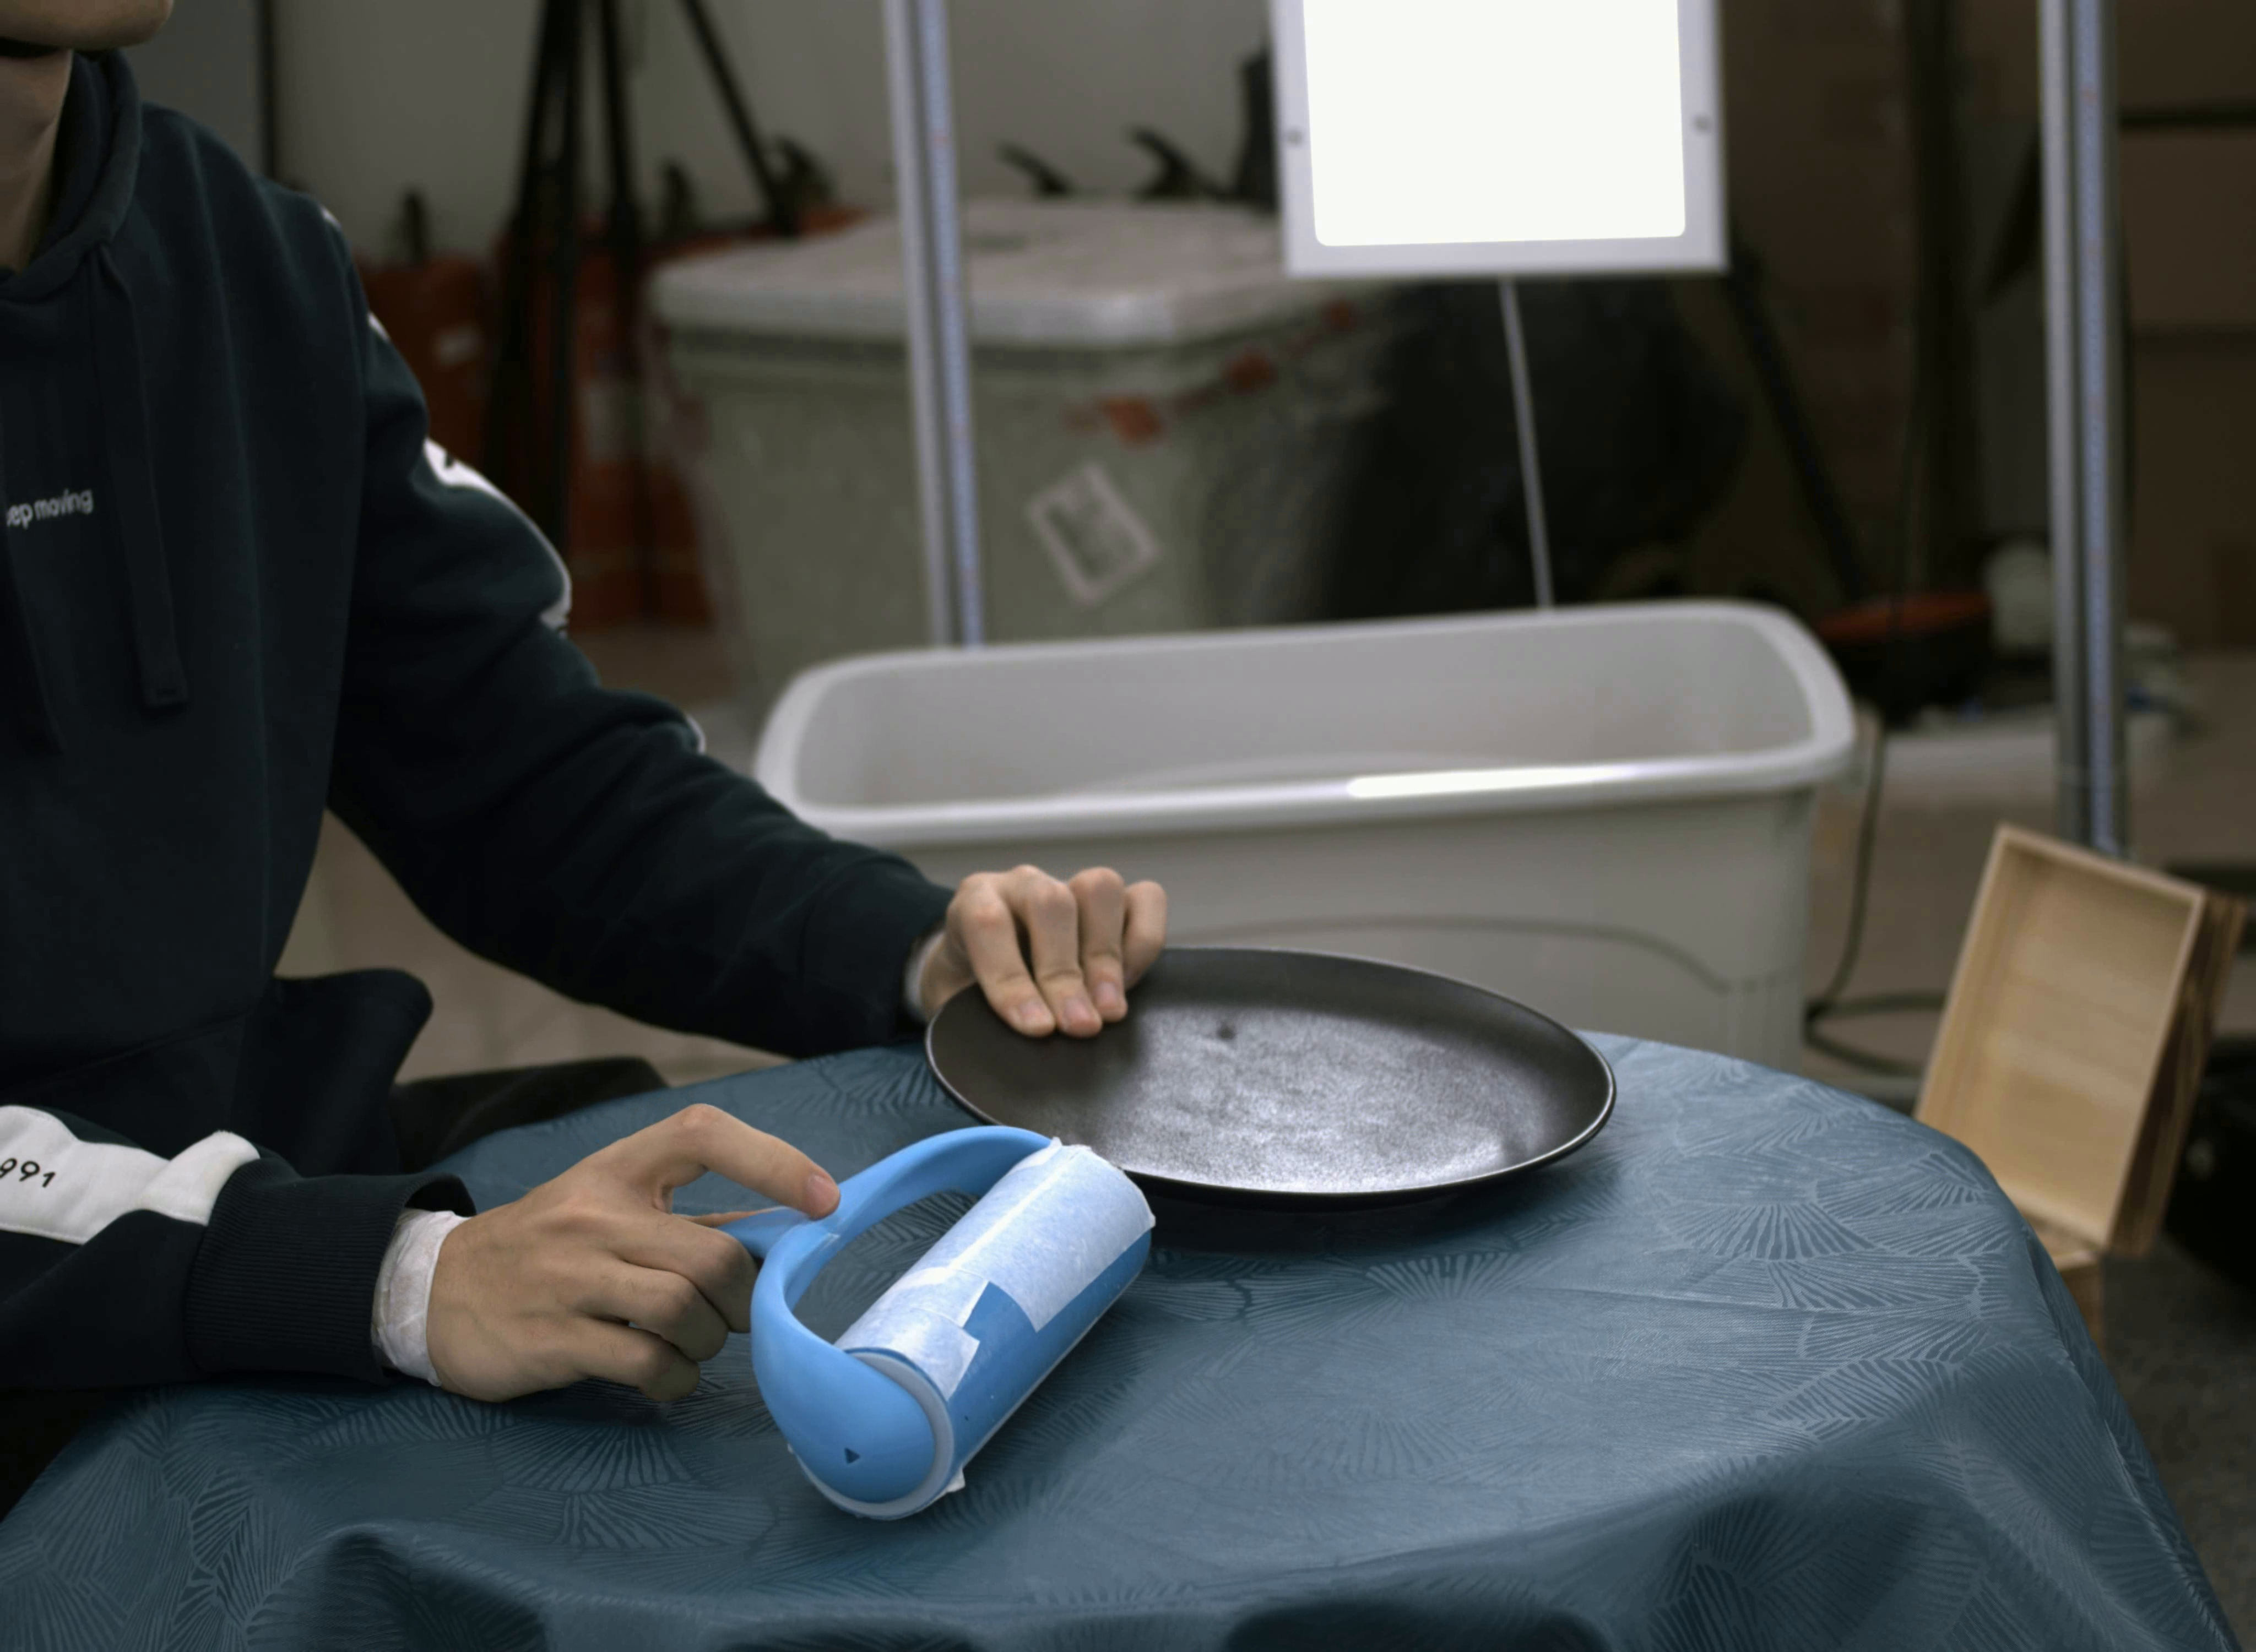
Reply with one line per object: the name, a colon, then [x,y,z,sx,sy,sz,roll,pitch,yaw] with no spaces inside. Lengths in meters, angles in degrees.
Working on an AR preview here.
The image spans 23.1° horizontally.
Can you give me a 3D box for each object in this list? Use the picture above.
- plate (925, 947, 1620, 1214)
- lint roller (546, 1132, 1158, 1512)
plate: [0.050,0.091,1.917,0.243,0.023,0.244,2,18,-2]
lint roller: [-0.100,0.152,1.708,0.182,0.068,0.225,-2,15,17]
